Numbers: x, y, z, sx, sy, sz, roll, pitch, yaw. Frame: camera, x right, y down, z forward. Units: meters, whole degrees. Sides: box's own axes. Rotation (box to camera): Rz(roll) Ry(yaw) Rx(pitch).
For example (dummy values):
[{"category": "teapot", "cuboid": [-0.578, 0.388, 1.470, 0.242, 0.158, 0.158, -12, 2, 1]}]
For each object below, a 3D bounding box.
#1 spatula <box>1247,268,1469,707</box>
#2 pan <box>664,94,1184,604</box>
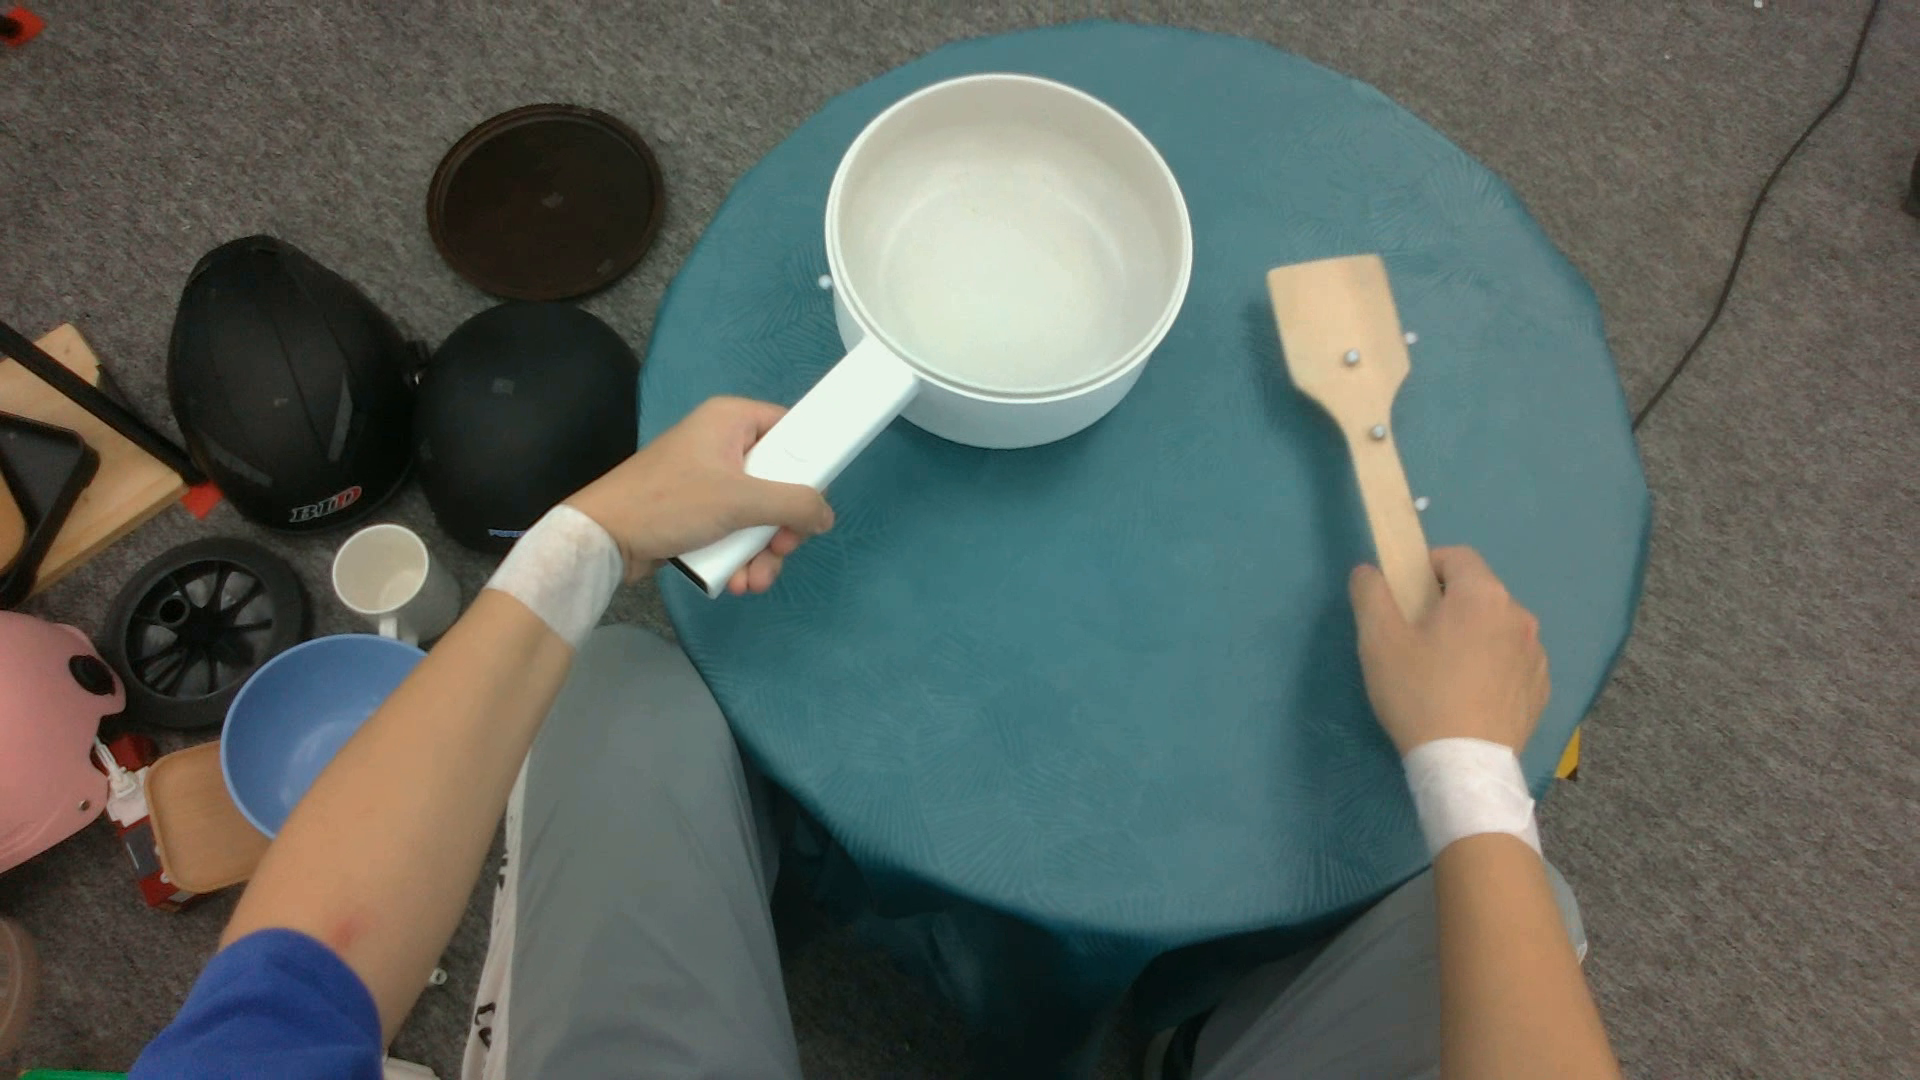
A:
[{"category": "spatula", "cuboid": [0.235, -0.039, 0.791, 0.072, 0.010, 0.294, -9, 60, -1]}, {"category": "pan", "cuboid": [-0.027, -0.095, 0.786, 0.201, 0.102, 0.356, 40, 72, 6]}]
